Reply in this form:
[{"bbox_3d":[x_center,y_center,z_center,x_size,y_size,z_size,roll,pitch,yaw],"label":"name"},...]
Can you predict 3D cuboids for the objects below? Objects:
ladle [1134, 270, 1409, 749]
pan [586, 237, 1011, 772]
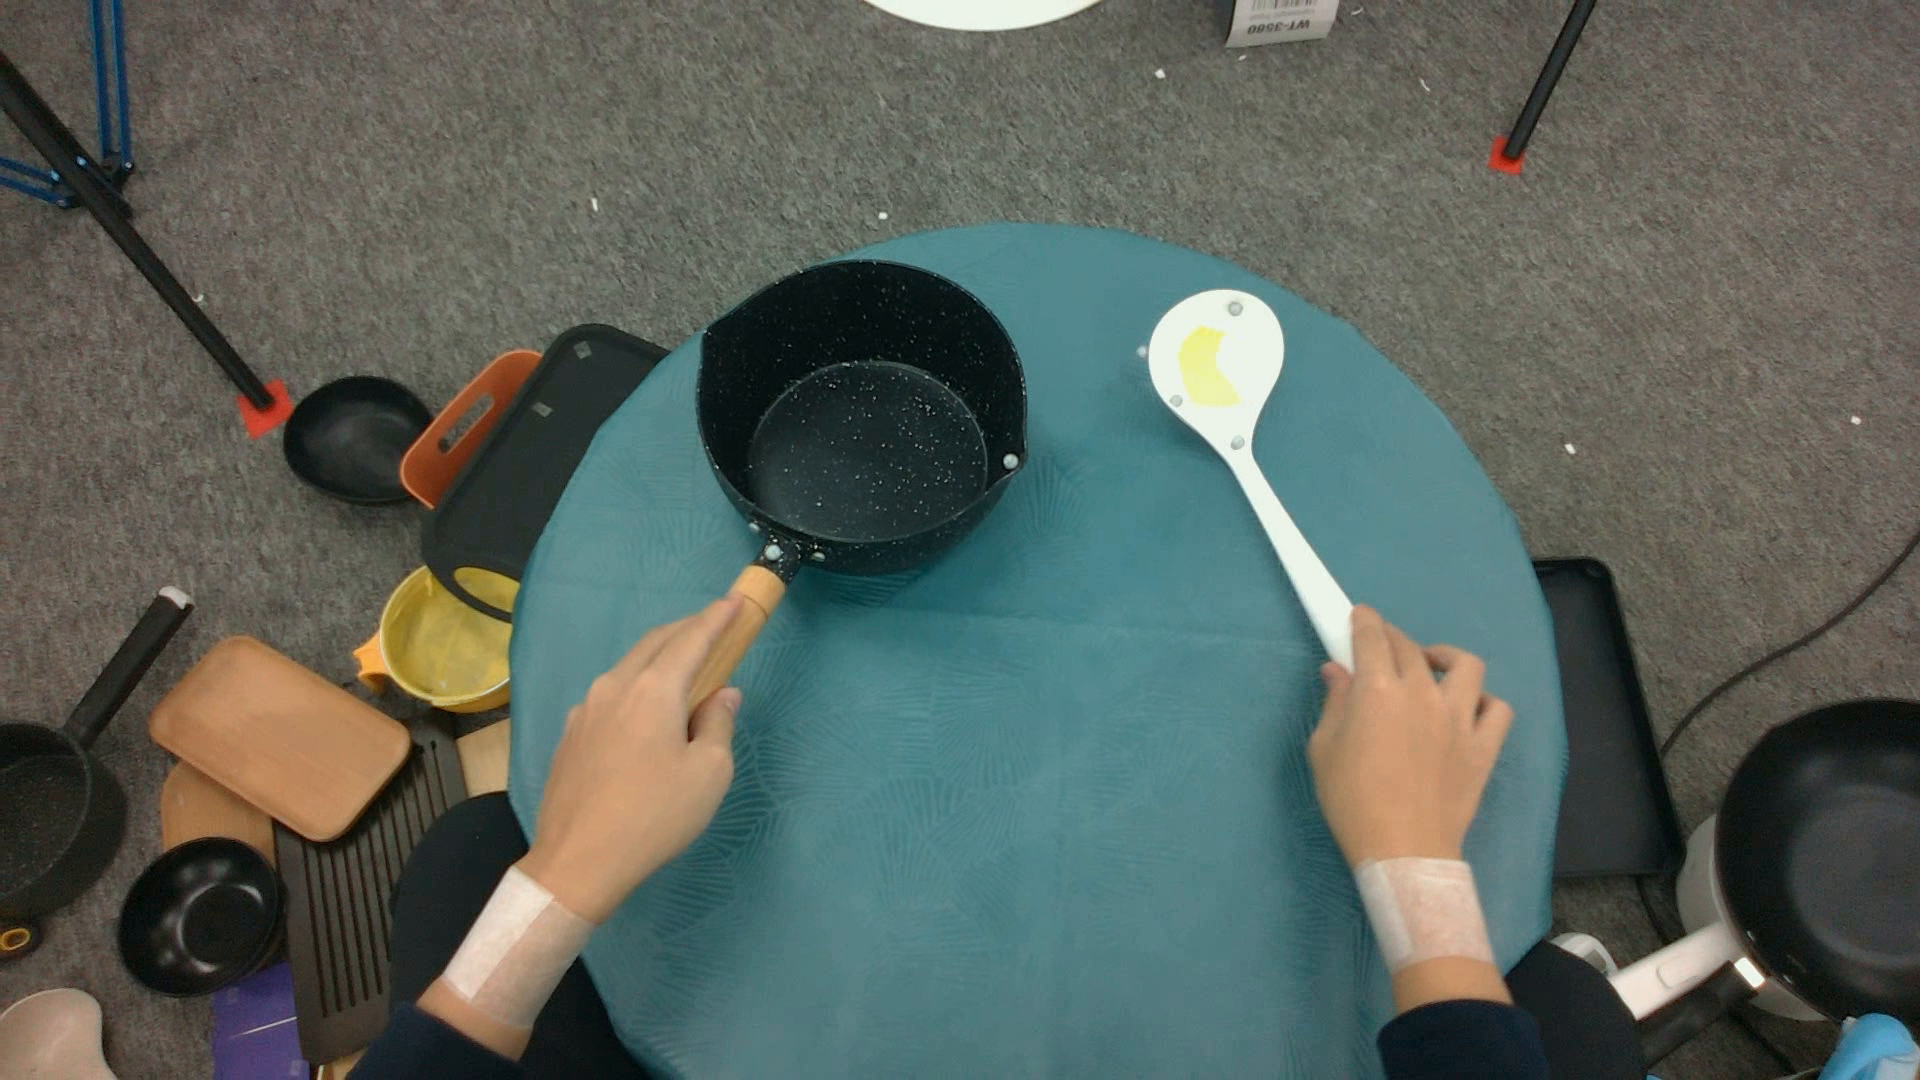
[{"bbox_3d":[0.184,-0.024,0.796,0.090,0.069,0.293,-13,63,-20],"label":"ladle"},{"bbox_3d":[-0.097,-0.014,0.756,0.207,0.108,0.344,22,65,7],"label":"pan"}]
